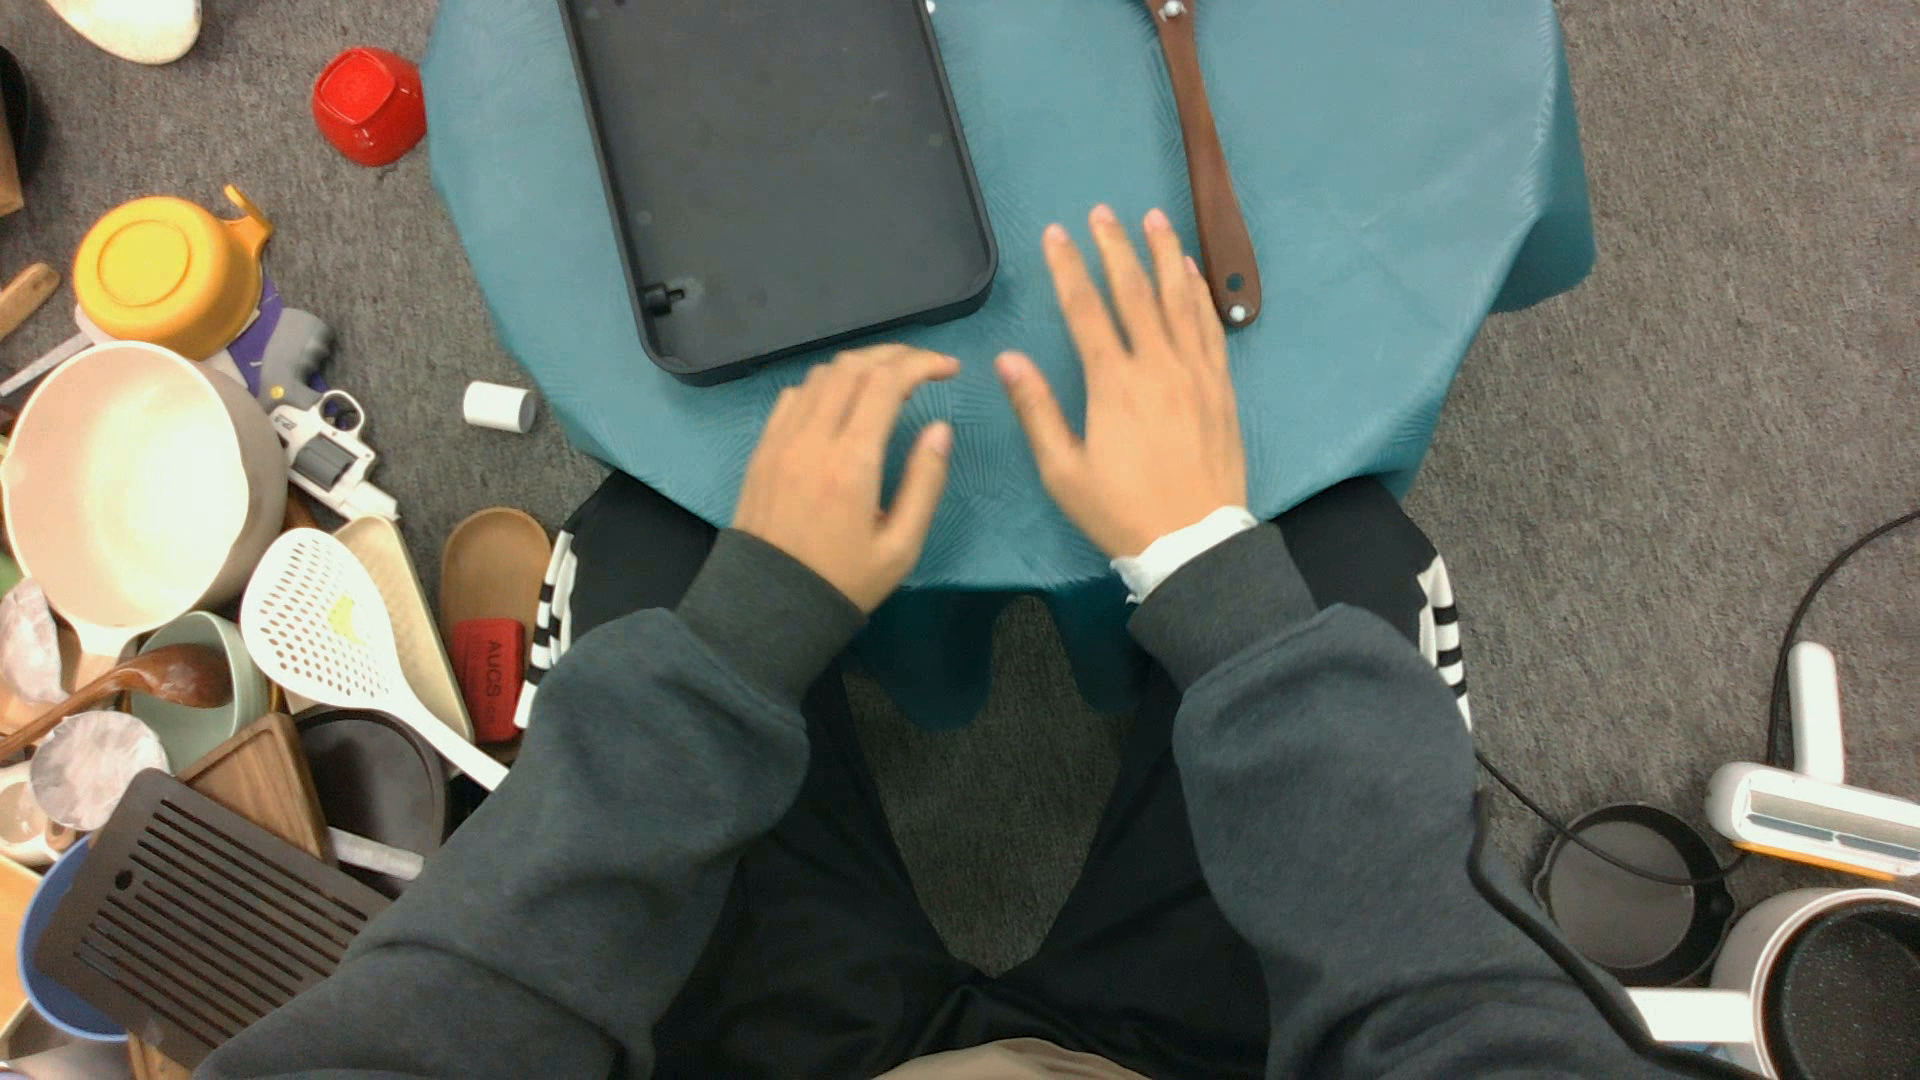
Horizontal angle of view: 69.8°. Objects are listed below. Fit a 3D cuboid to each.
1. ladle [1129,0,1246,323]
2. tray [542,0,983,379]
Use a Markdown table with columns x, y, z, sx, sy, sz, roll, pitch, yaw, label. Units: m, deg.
| x | y | z | sx | sy | sz | roll | pitch | yaw | label |
| --- | --- | --- | --- | --- | --- | --- | --- | --- | --- |
| 0.109 | -0.240 | 0.701 | 0.076 | 0.065 | 0.260 | -11 | 80 | 9 | ladle |
| -0.114 | -0.250 | 0.717 | 0.184 | 0.037 | 0.318 | -15 | 79 | -2 | tray |
